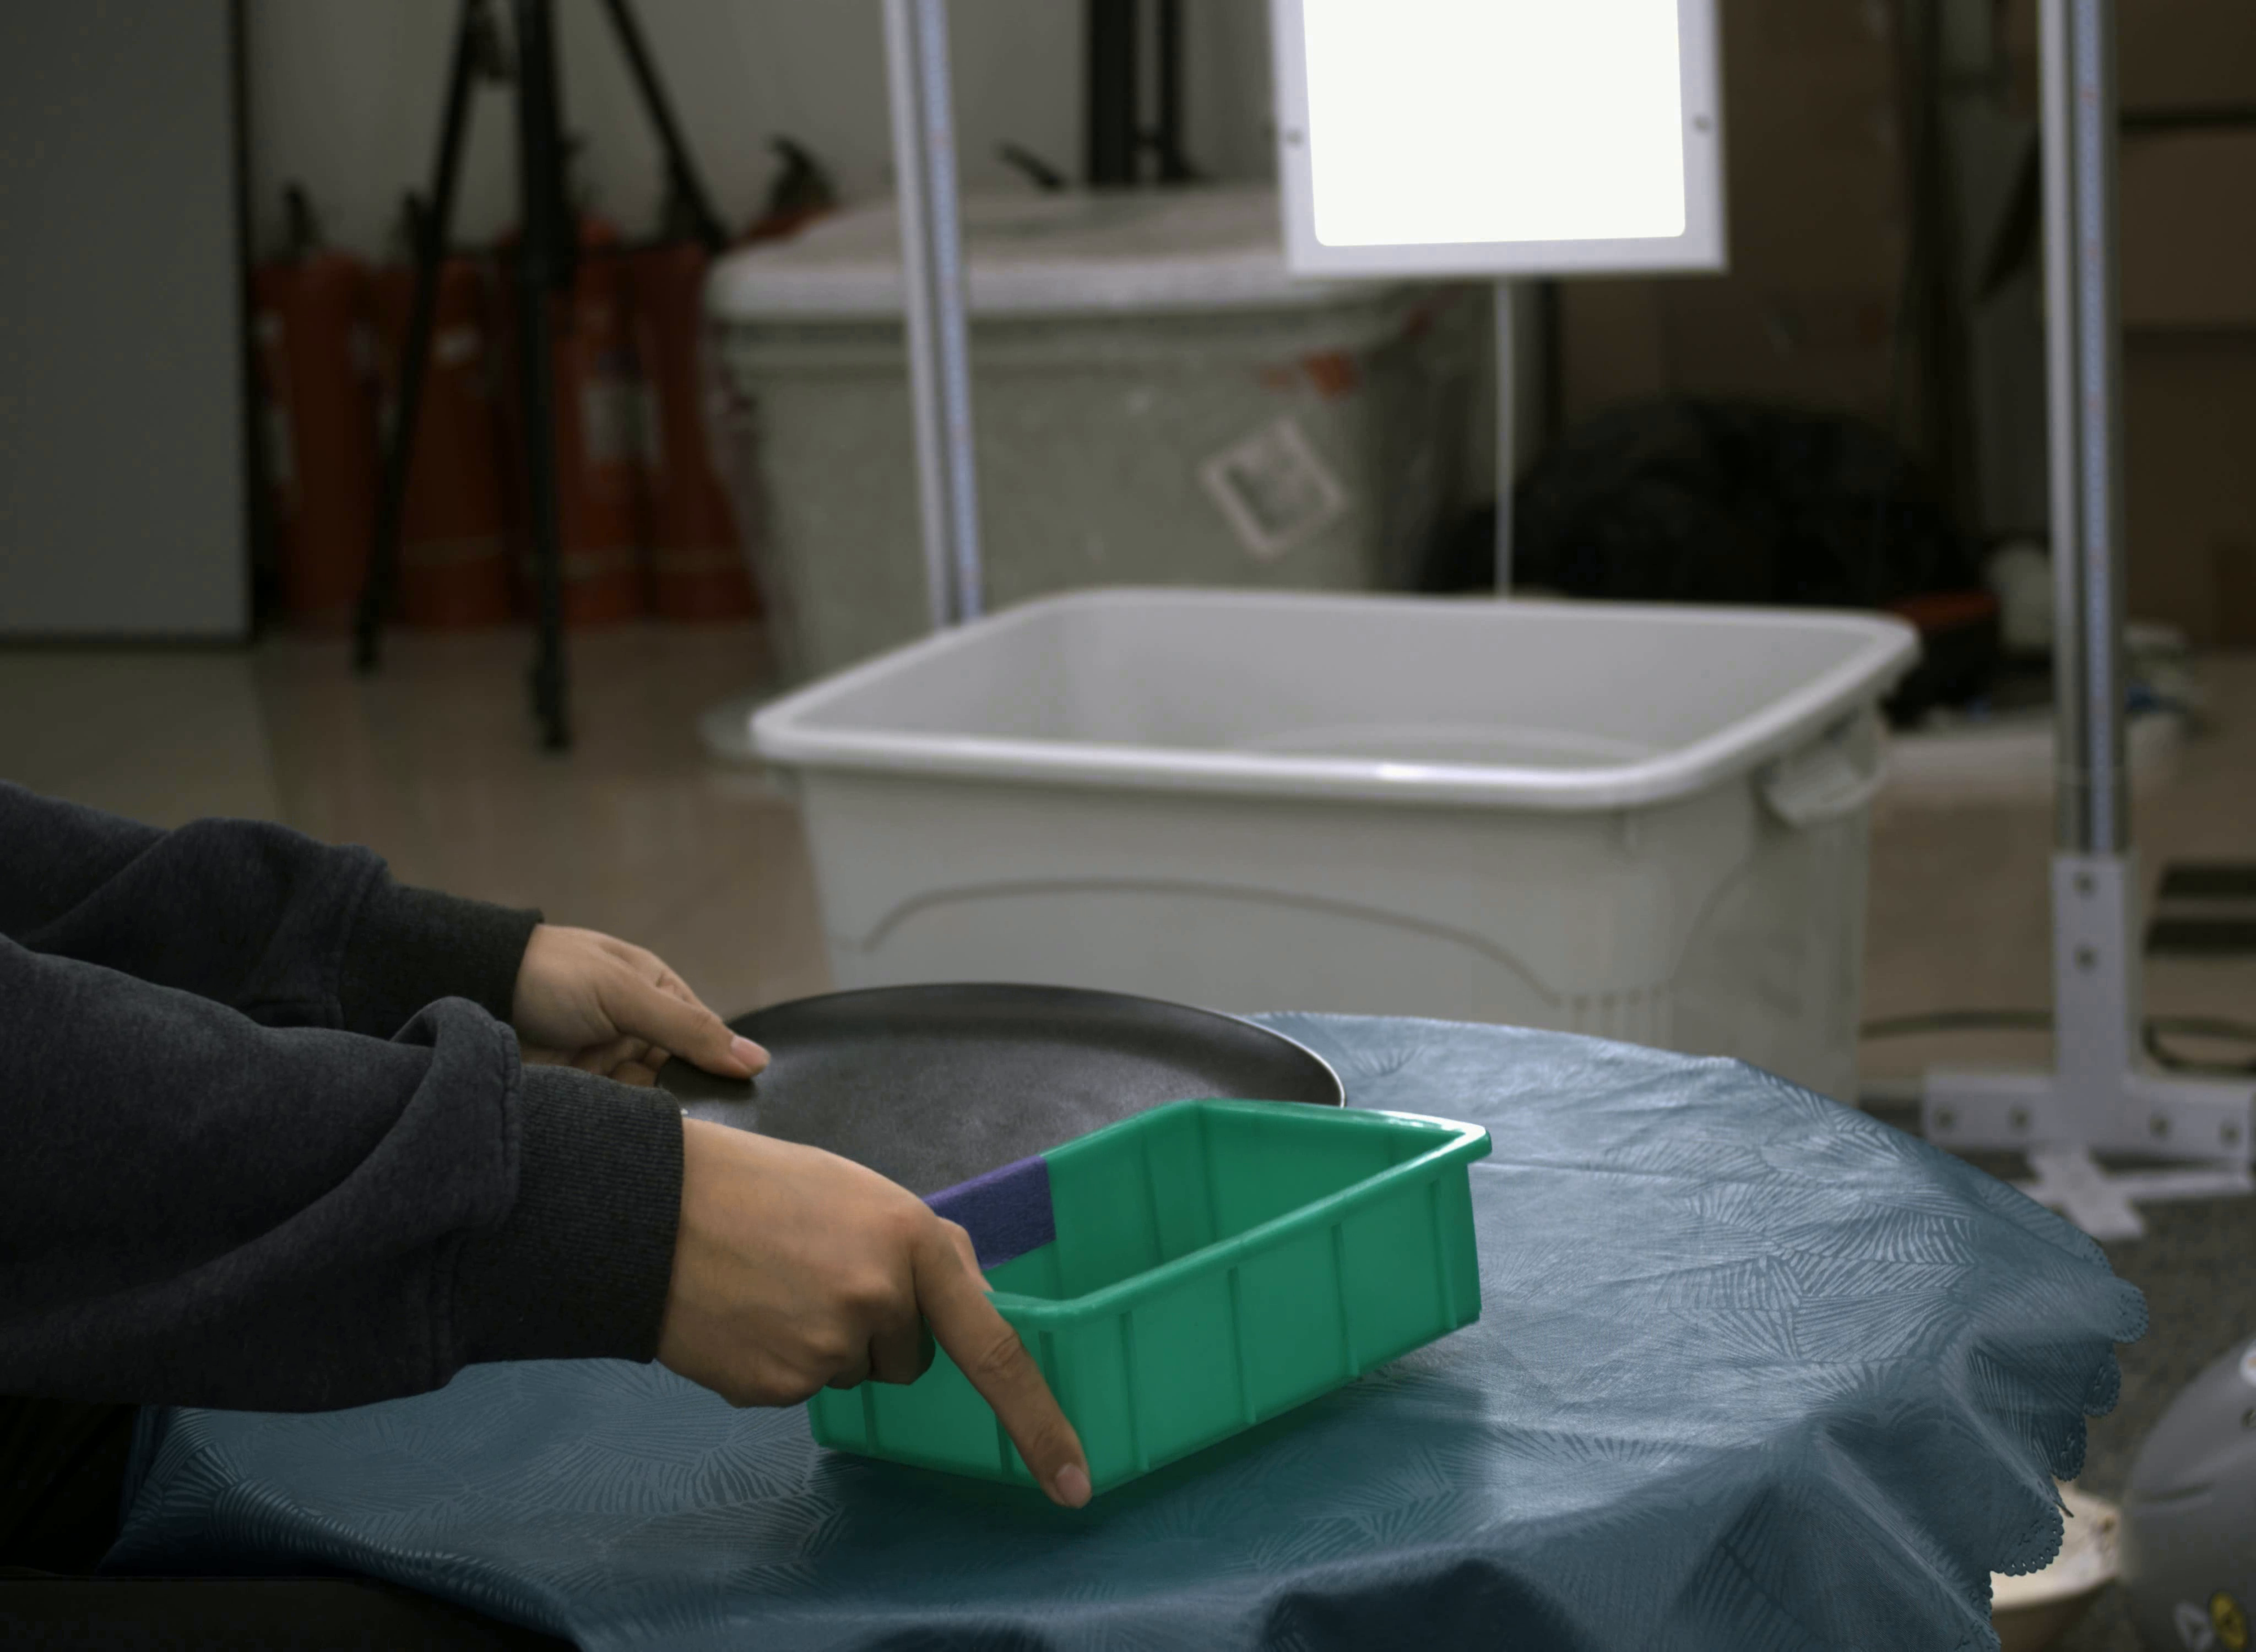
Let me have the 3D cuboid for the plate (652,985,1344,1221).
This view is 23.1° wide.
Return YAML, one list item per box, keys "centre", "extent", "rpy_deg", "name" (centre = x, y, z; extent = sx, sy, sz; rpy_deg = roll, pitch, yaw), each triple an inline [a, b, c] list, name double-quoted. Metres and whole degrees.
- centre: [-0.046, 0.102, 1.930]
  extent: [0.243, 0.023, 0.244]
  rpy_deg: [0, 16, -1]
  name: "plate"

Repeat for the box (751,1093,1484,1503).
- centre: [0.002, 0.142, 1.676]
  extent: [0.142, 0.065, 0.205]
  rpy_deg: [1, 16, 44]
  name: "box"
